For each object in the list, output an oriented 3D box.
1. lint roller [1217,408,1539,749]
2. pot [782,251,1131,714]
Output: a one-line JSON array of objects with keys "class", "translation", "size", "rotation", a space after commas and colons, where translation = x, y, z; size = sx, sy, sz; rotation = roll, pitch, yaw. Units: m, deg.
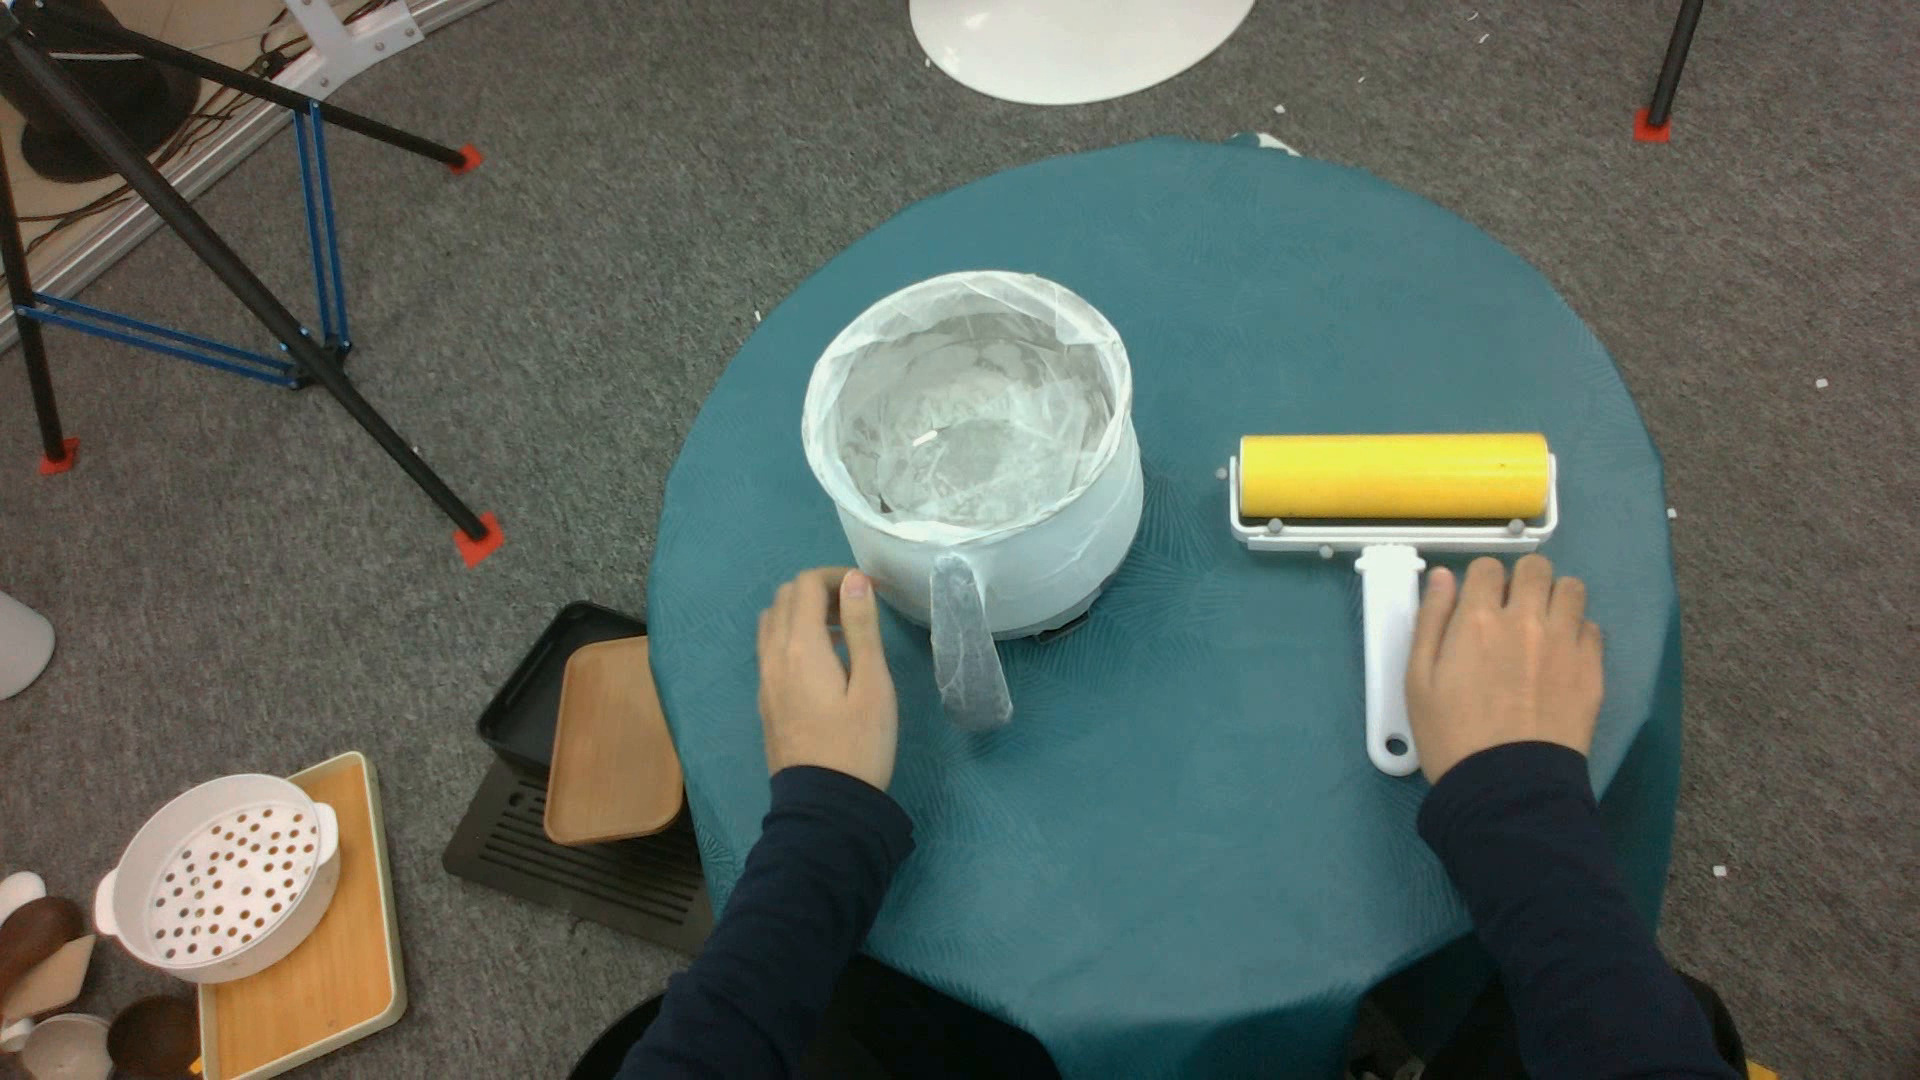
[{"class": "lint roller", "translation": [0.229, 0.015, 0.747], "size": [0.174, 0.051, 0.193], "rotation": [-1, 58, 11]}, {"class": "pot", "translation": [0.003, -0.029, 0.758], "size": [0.178, 0.136, 0.234], "rotation": [-4, 57, 11]}]
